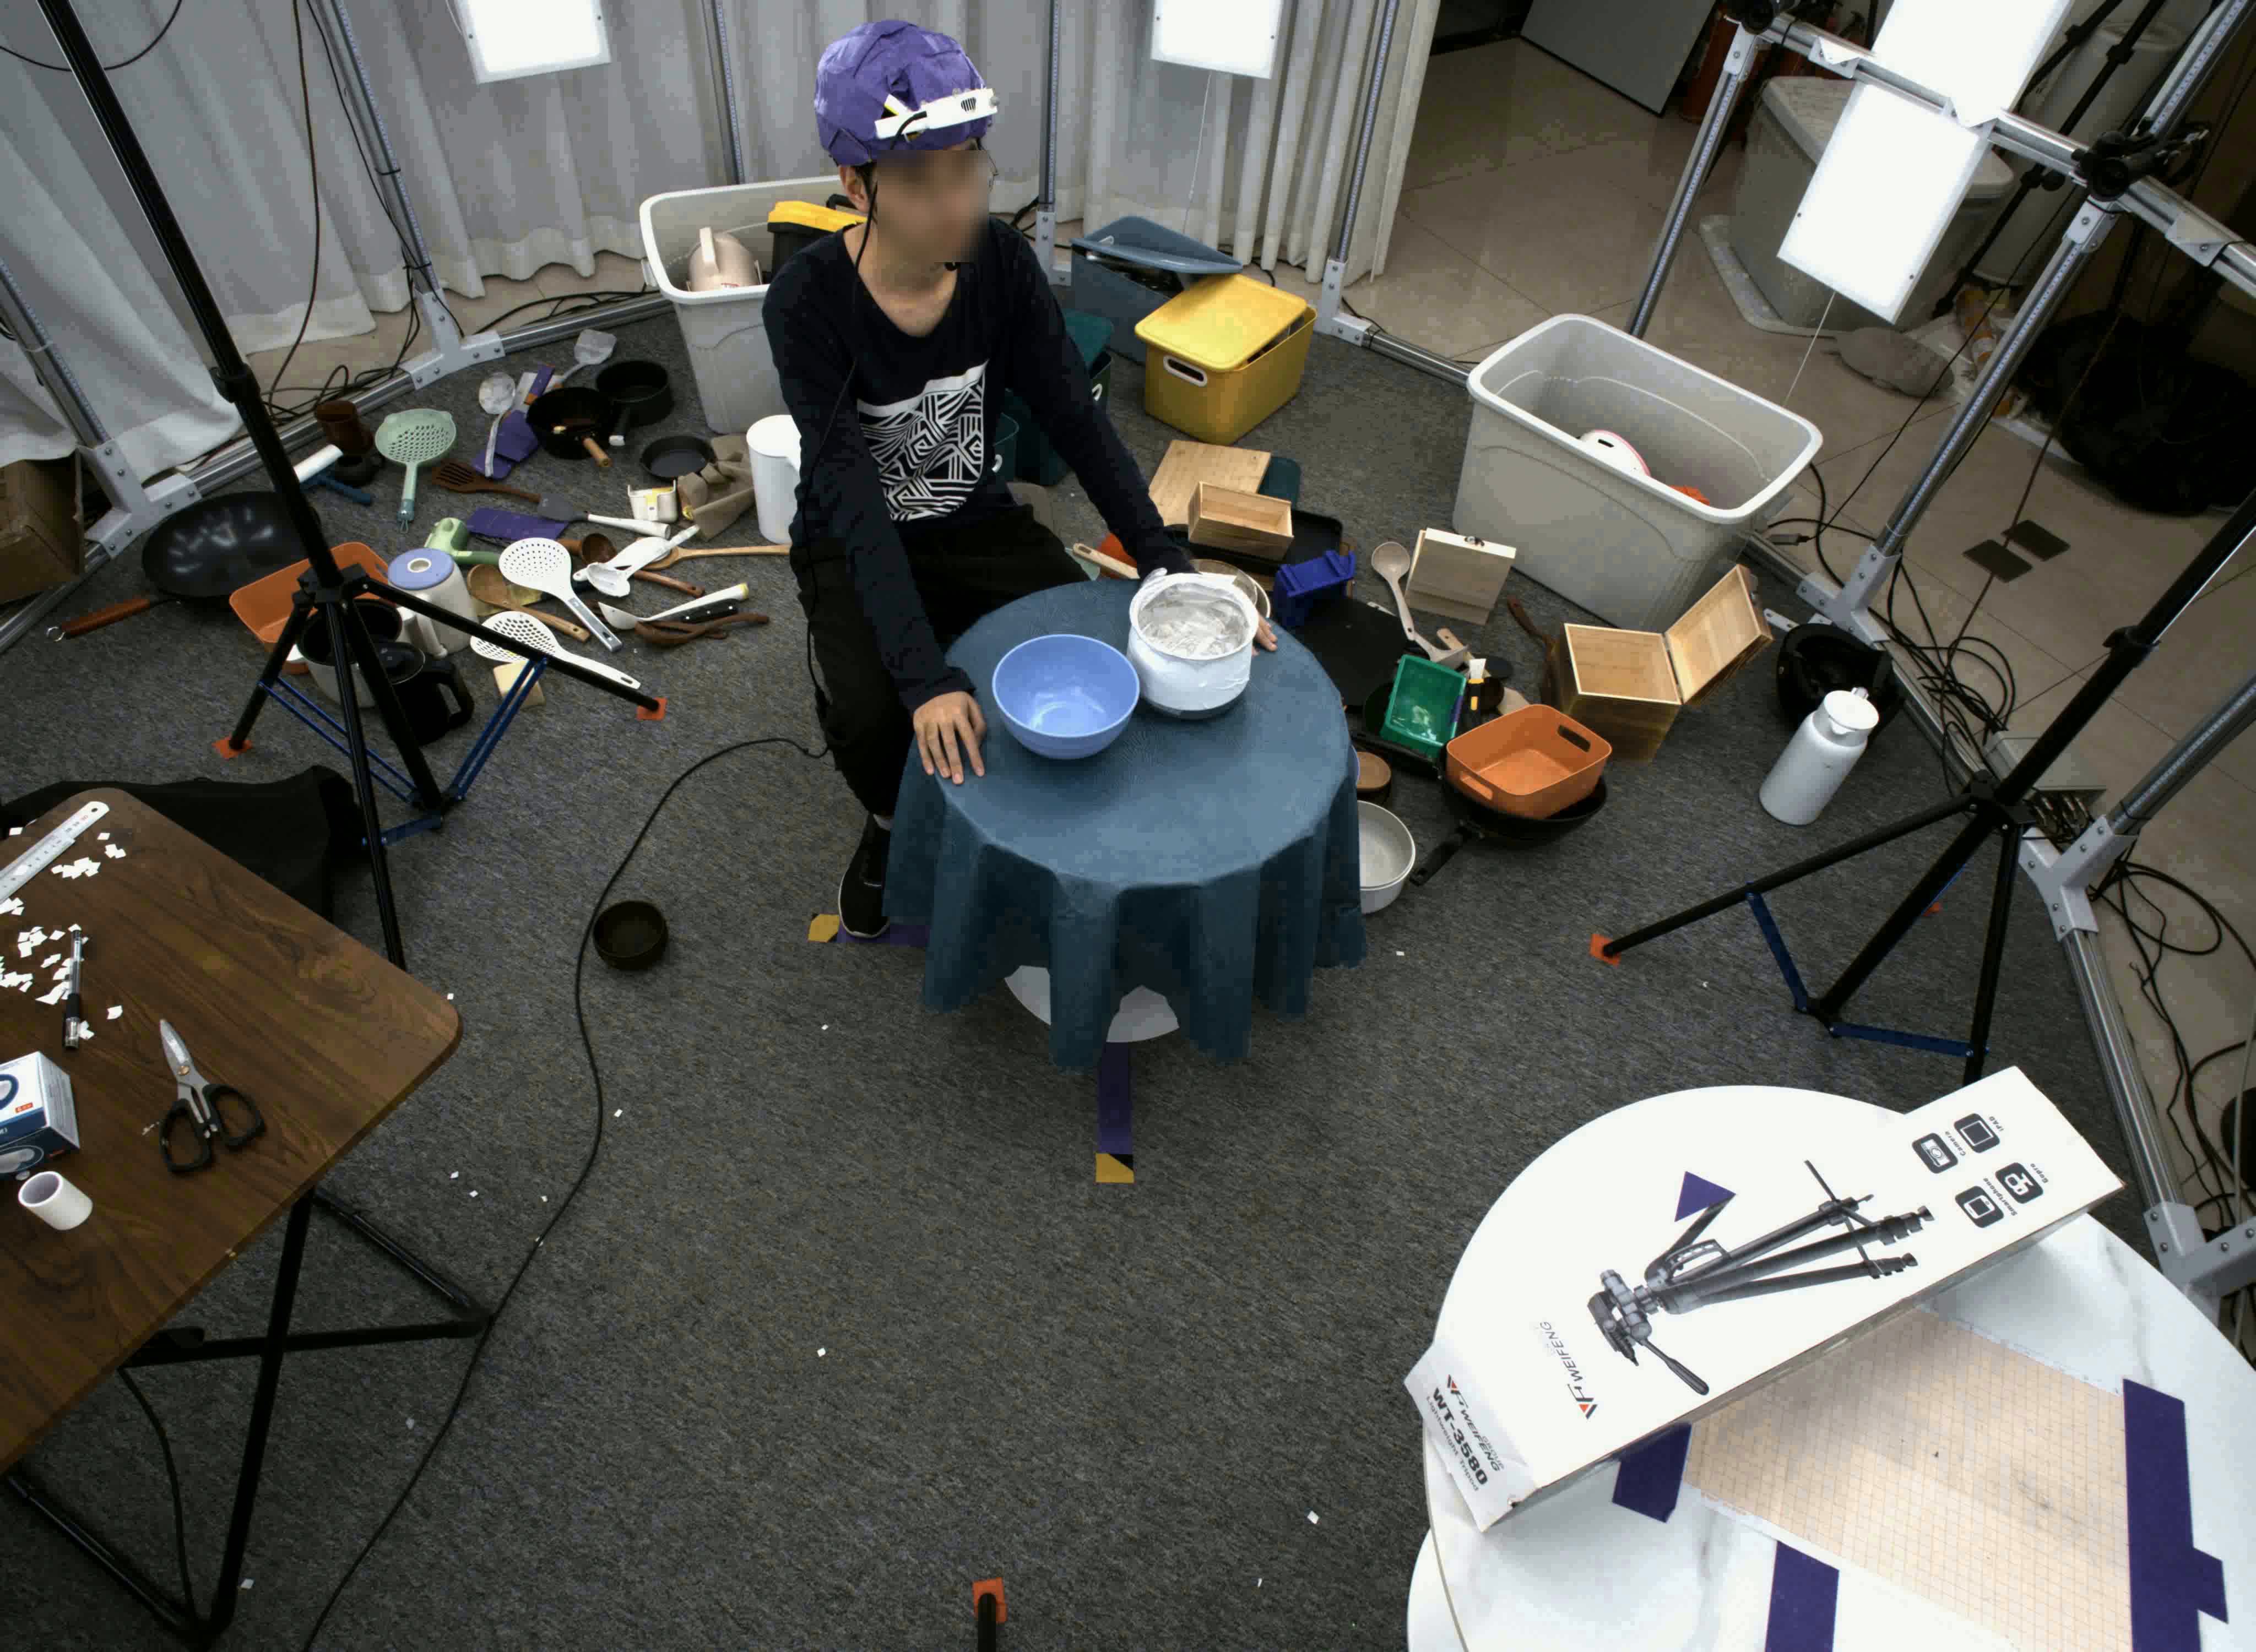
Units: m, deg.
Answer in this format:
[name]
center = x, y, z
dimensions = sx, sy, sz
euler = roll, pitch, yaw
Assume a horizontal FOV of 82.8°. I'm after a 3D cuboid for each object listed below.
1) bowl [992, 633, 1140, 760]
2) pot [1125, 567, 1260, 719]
[bowl]
center = -0.084, -0.161, 1.737
dimensions = 0.196, 0.093, 0.201
euler = 2, 52, -2
[pot]
center = 0.074, -0.268, 1.816
dimensions = 0.179, 0.133, 0.239
euler = -18, 53, -22
